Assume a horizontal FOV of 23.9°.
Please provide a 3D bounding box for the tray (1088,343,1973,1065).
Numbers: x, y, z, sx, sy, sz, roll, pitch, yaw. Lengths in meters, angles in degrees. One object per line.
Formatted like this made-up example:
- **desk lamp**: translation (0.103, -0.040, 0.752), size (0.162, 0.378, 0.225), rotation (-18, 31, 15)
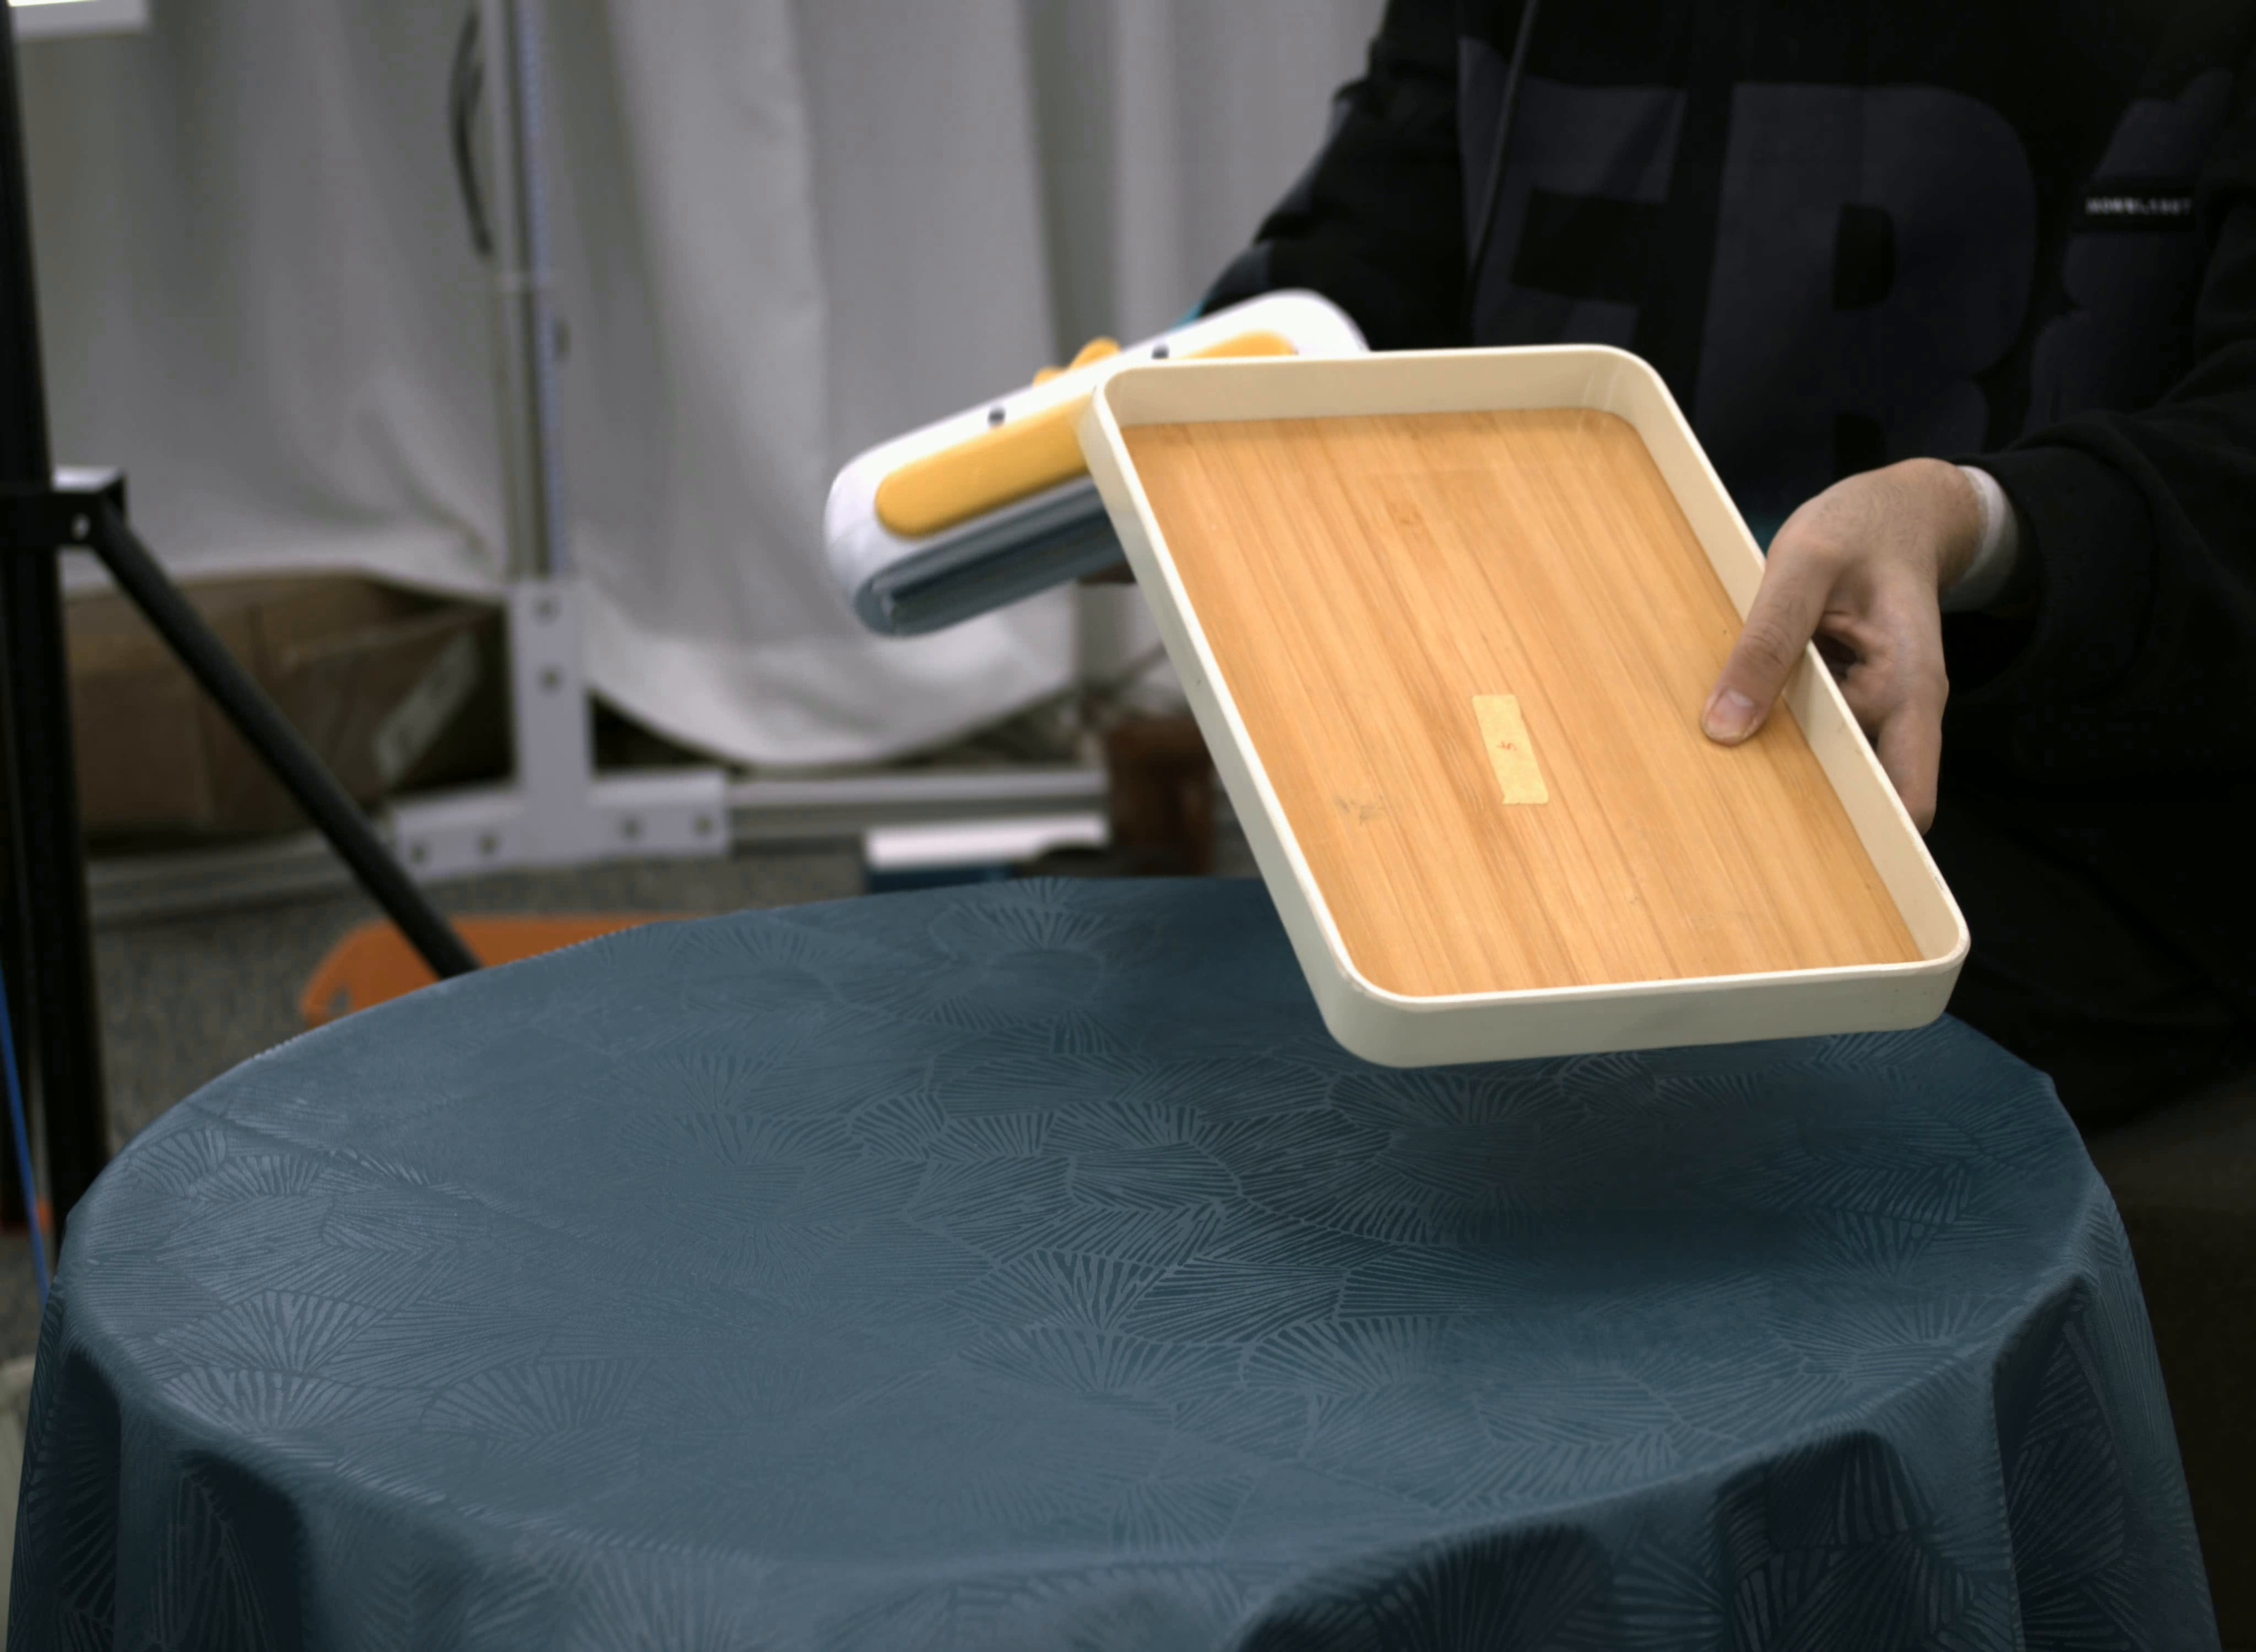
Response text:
- **tray**: translation (0.113, -0.043, 1.572), size (0.188, 0.027, 0.305), rotation (-3, 41, -16)

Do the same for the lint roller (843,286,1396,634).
- **lint roller**: translation (0.001, -0.111, 1.818), size (0.192, 0.075, 0.190), rotation (-24, -16, 1)
